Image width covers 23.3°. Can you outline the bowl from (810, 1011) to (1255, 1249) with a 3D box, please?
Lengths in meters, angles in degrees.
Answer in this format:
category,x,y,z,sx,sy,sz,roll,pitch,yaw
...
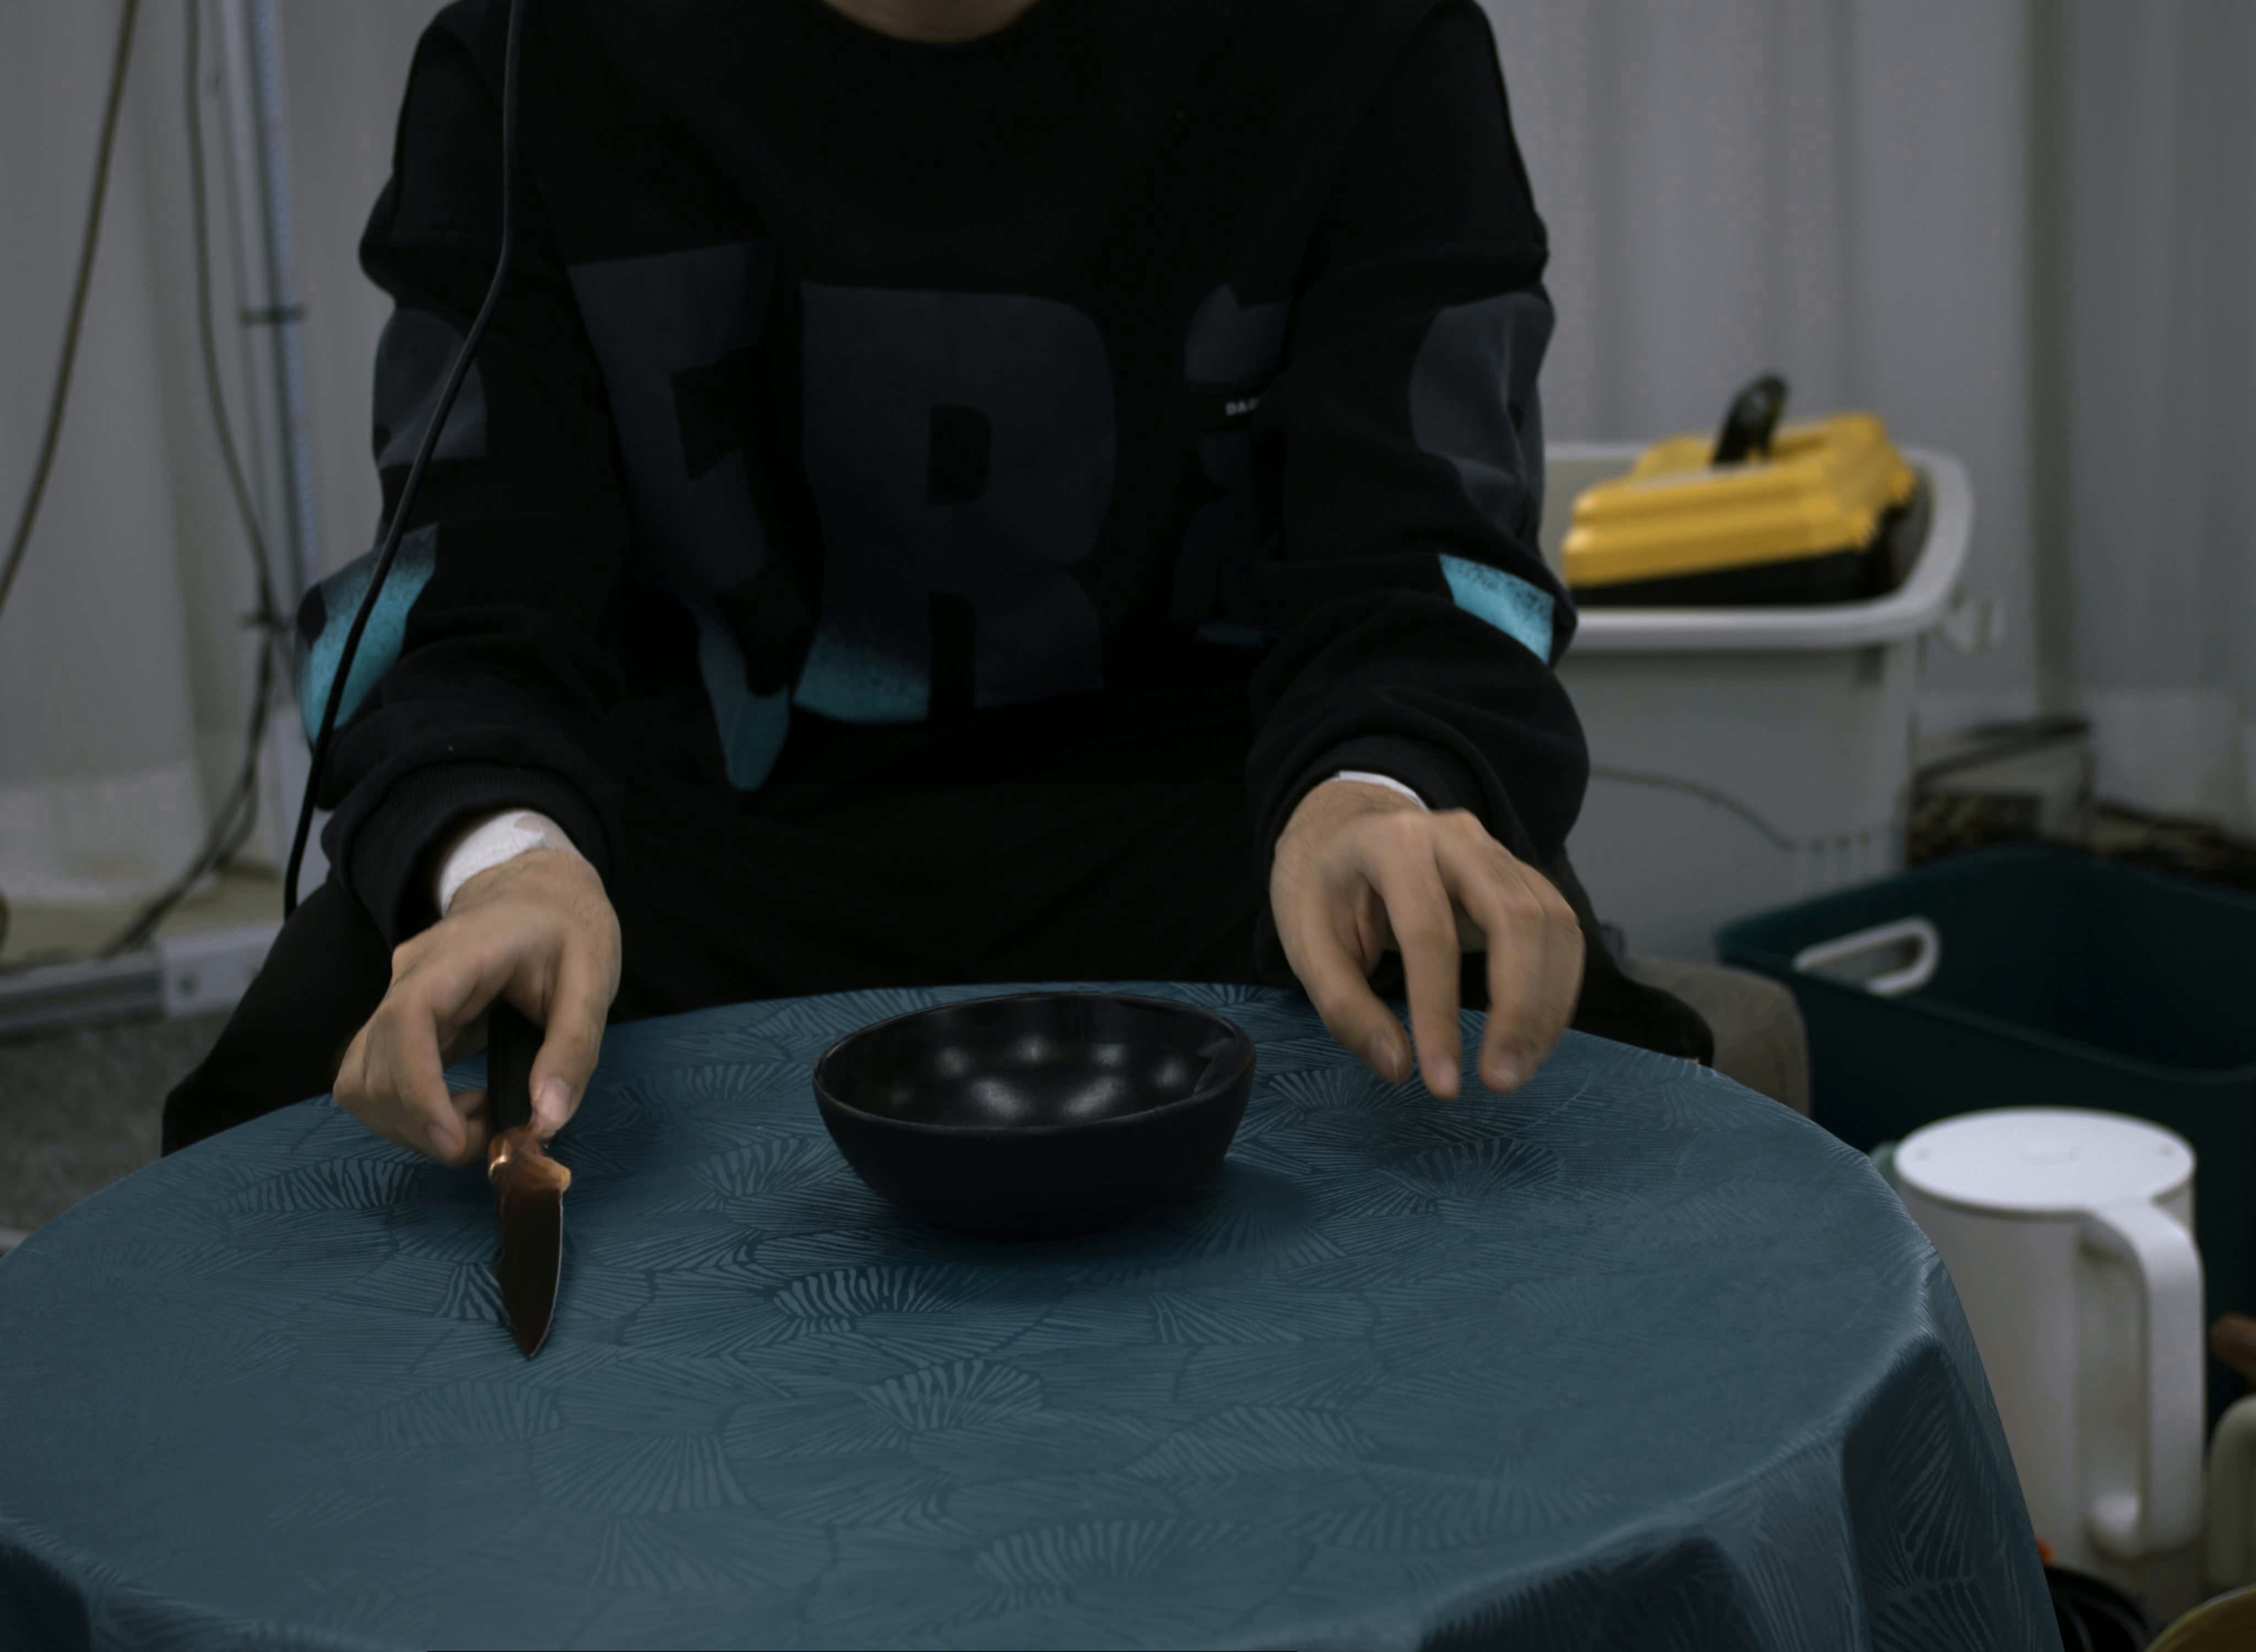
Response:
category,x,y,z,sx,sy,sz,roll,pitch,yaw
bowl,-0.028,0.098,1.699,0.139,0.049,0.141,-5,11,1

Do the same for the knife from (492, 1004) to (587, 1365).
category,x,y,z,sx,sy,sz,roll,pitch,yaw
knife,-0.183,0.109,1.695,0.026,0.017,0.228,9,22,-12
